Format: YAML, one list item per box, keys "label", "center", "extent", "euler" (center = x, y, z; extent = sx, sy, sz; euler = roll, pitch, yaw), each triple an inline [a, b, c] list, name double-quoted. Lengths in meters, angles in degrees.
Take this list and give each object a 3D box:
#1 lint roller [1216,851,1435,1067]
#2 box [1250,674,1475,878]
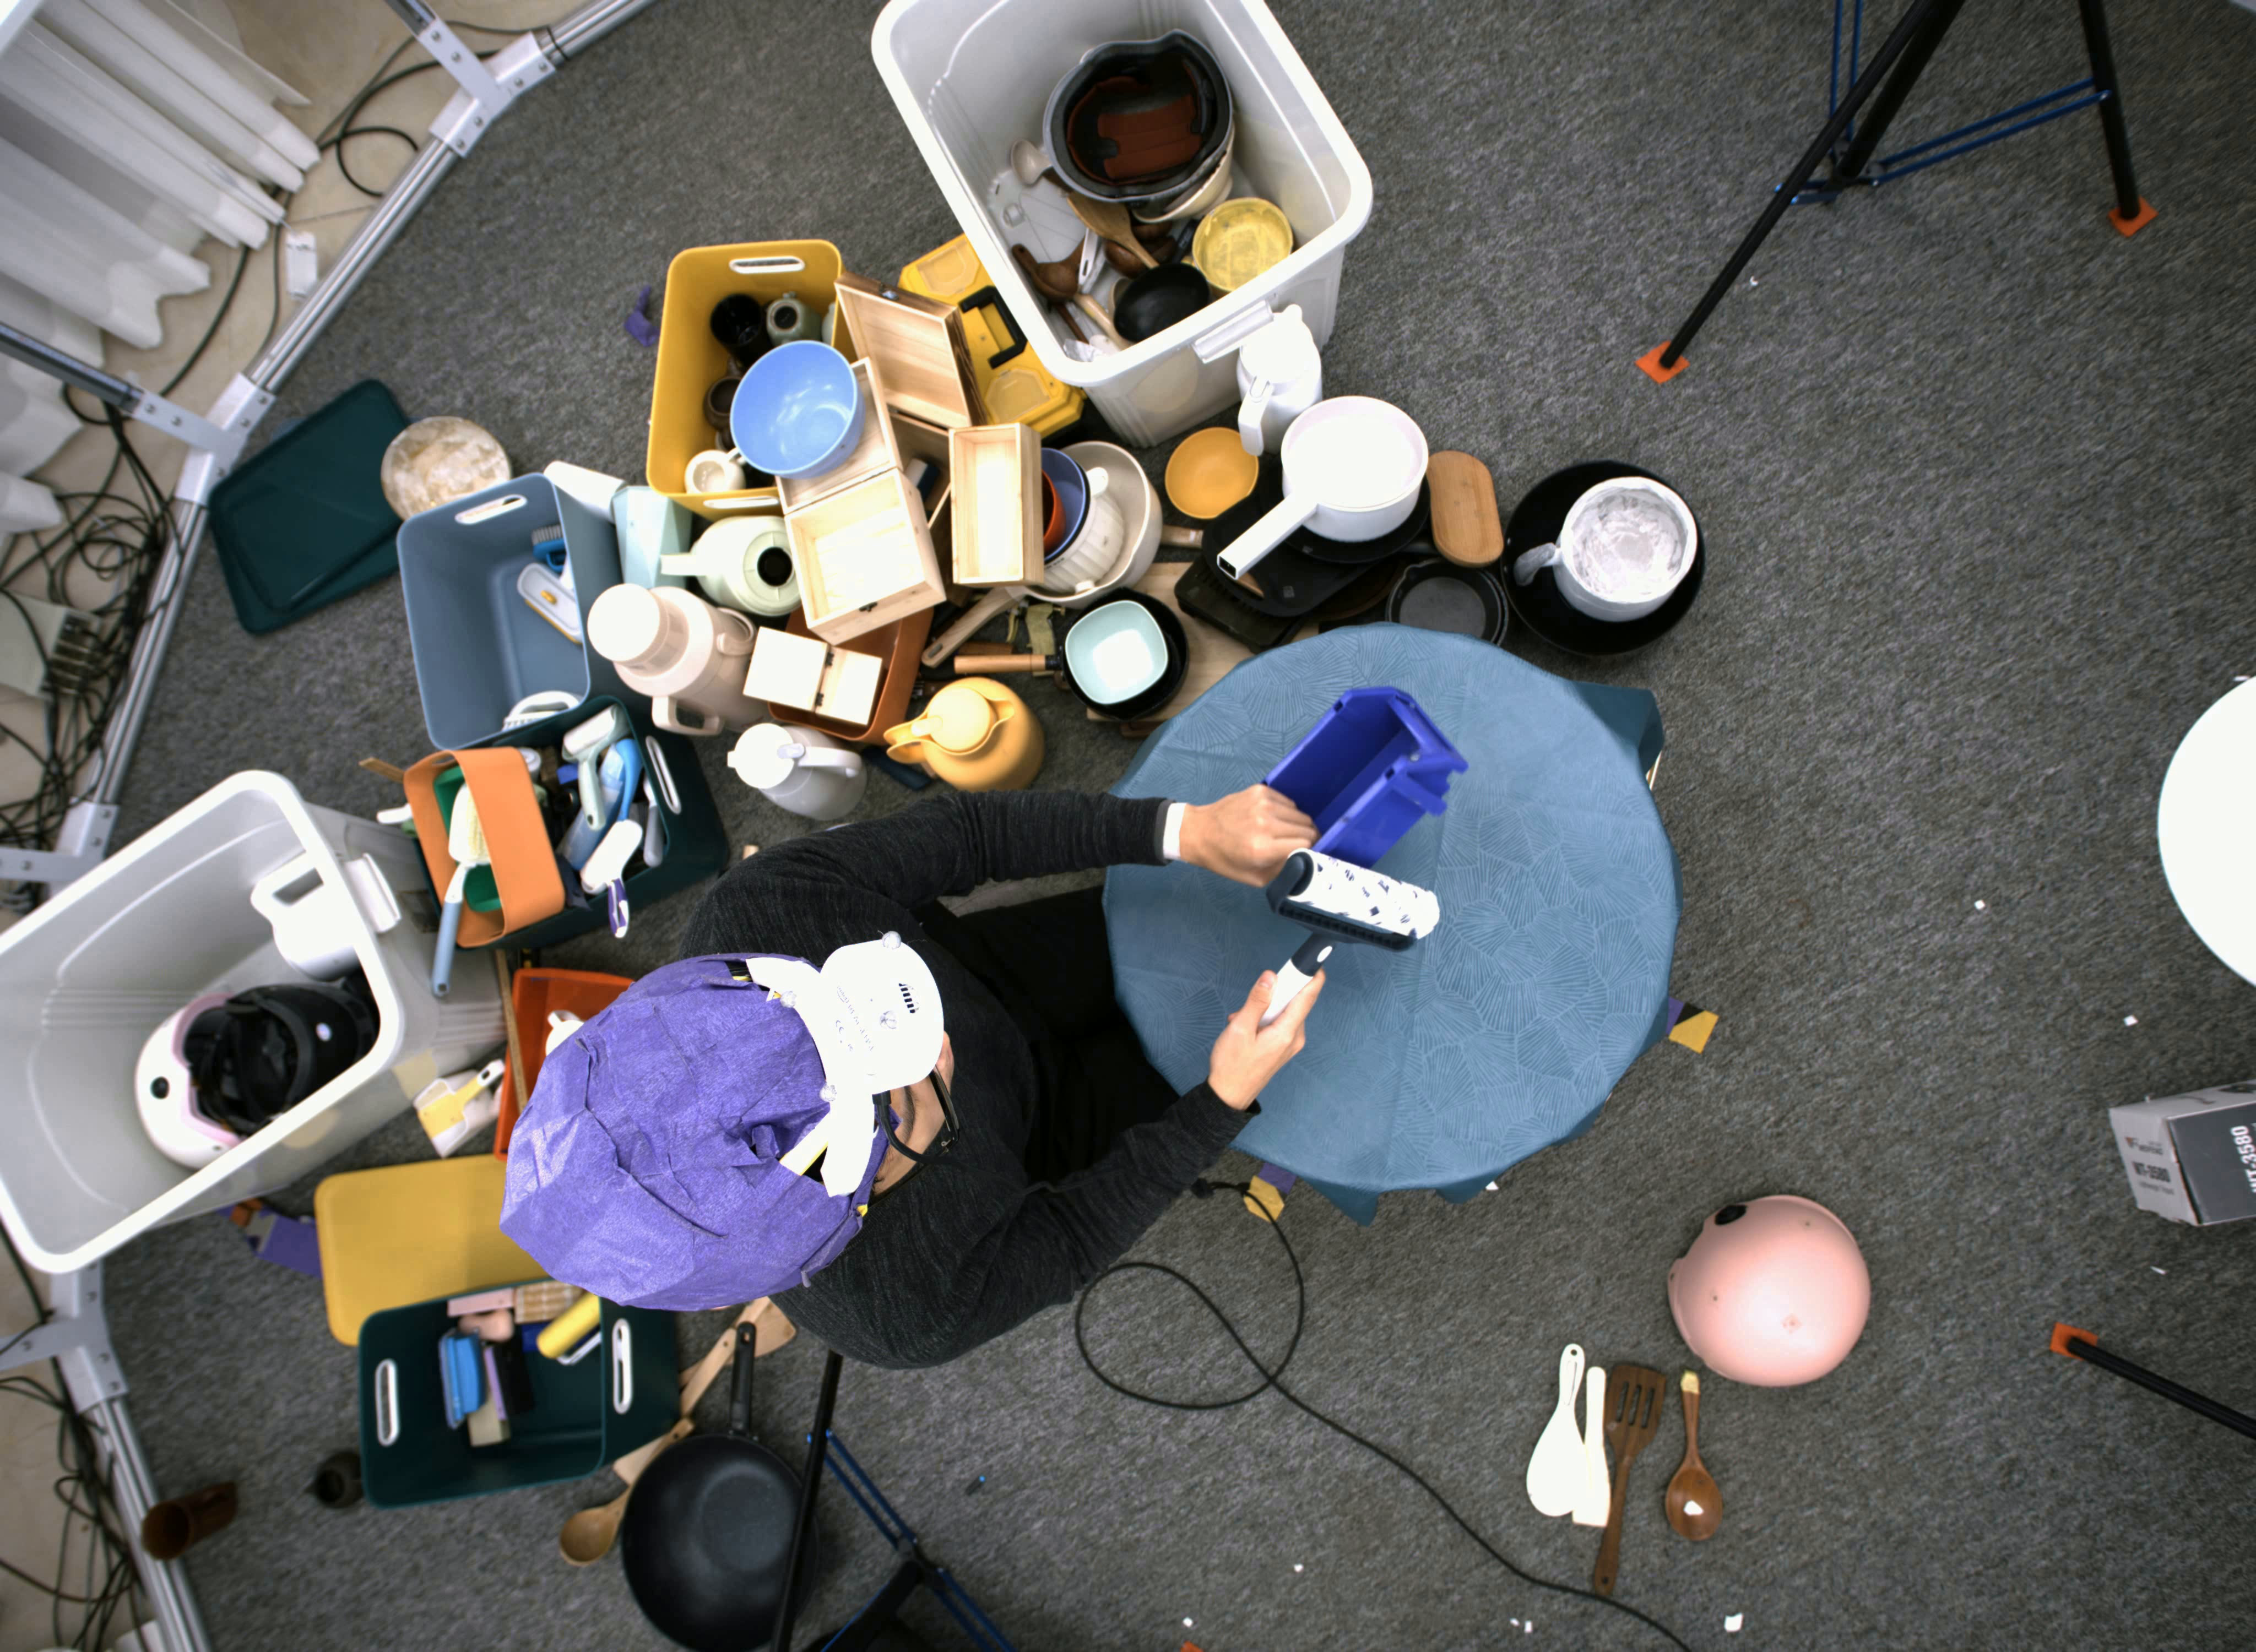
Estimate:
- label: "lint roller"
  center: [0.158, 0.140, 1.291]
  extent: [0.252, 0.176, 0.049]
  euler: [-57, 37, 25]
- label: "box"
  center: [0.217, -0.048, 1.273]
  extent: [0.182, 0.082, 0.122]
  euler: [-50, 39, 22]
